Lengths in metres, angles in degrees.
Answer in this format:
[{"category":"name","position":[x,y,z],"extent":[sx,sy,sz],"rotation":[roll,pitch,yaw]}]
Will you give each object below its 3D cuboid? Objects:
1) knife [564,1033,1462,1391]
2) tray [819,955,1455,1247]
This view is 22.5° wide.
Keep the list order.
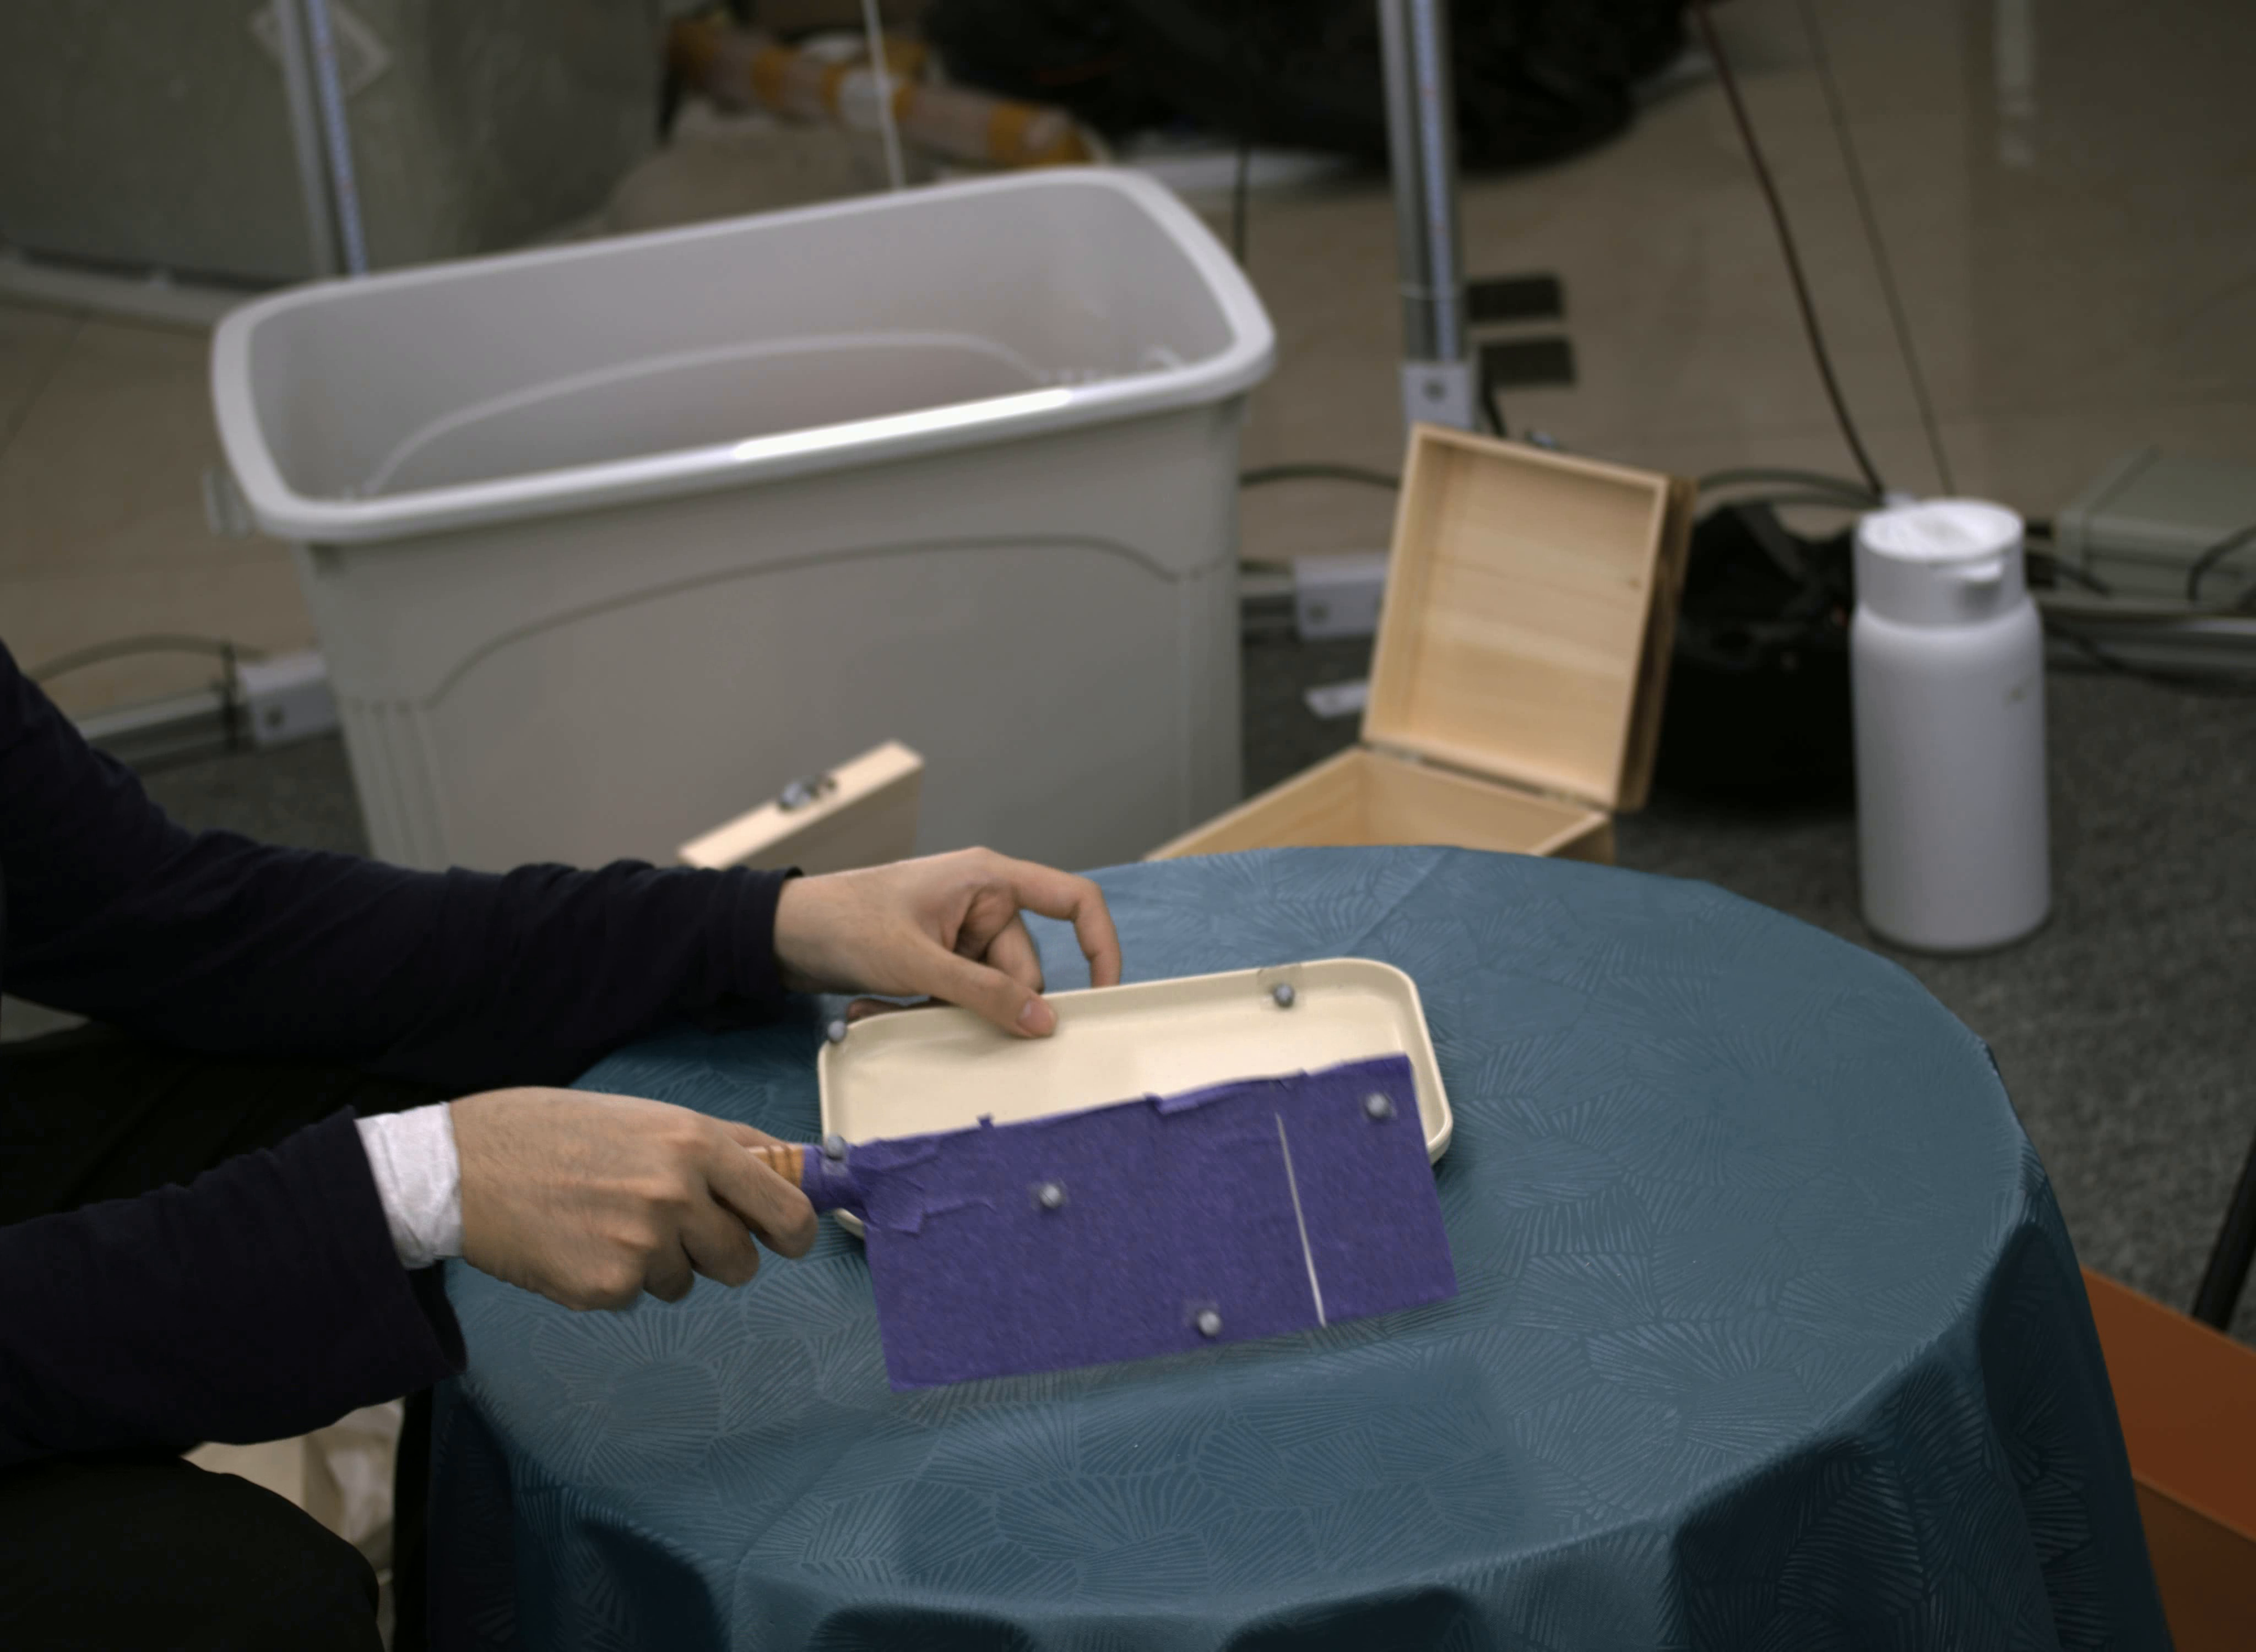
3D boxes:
[{"category":"knife","position":[-0.038,0.148,2.013],"extent":[0.314,0.103,0.032],"rotation":[-10,-9,-6]},{"category":"tray","position":[0.002,0.108,2.191],"extent":[0.239,0.018,0.168],"rotation":[-7,28,-1]}]
